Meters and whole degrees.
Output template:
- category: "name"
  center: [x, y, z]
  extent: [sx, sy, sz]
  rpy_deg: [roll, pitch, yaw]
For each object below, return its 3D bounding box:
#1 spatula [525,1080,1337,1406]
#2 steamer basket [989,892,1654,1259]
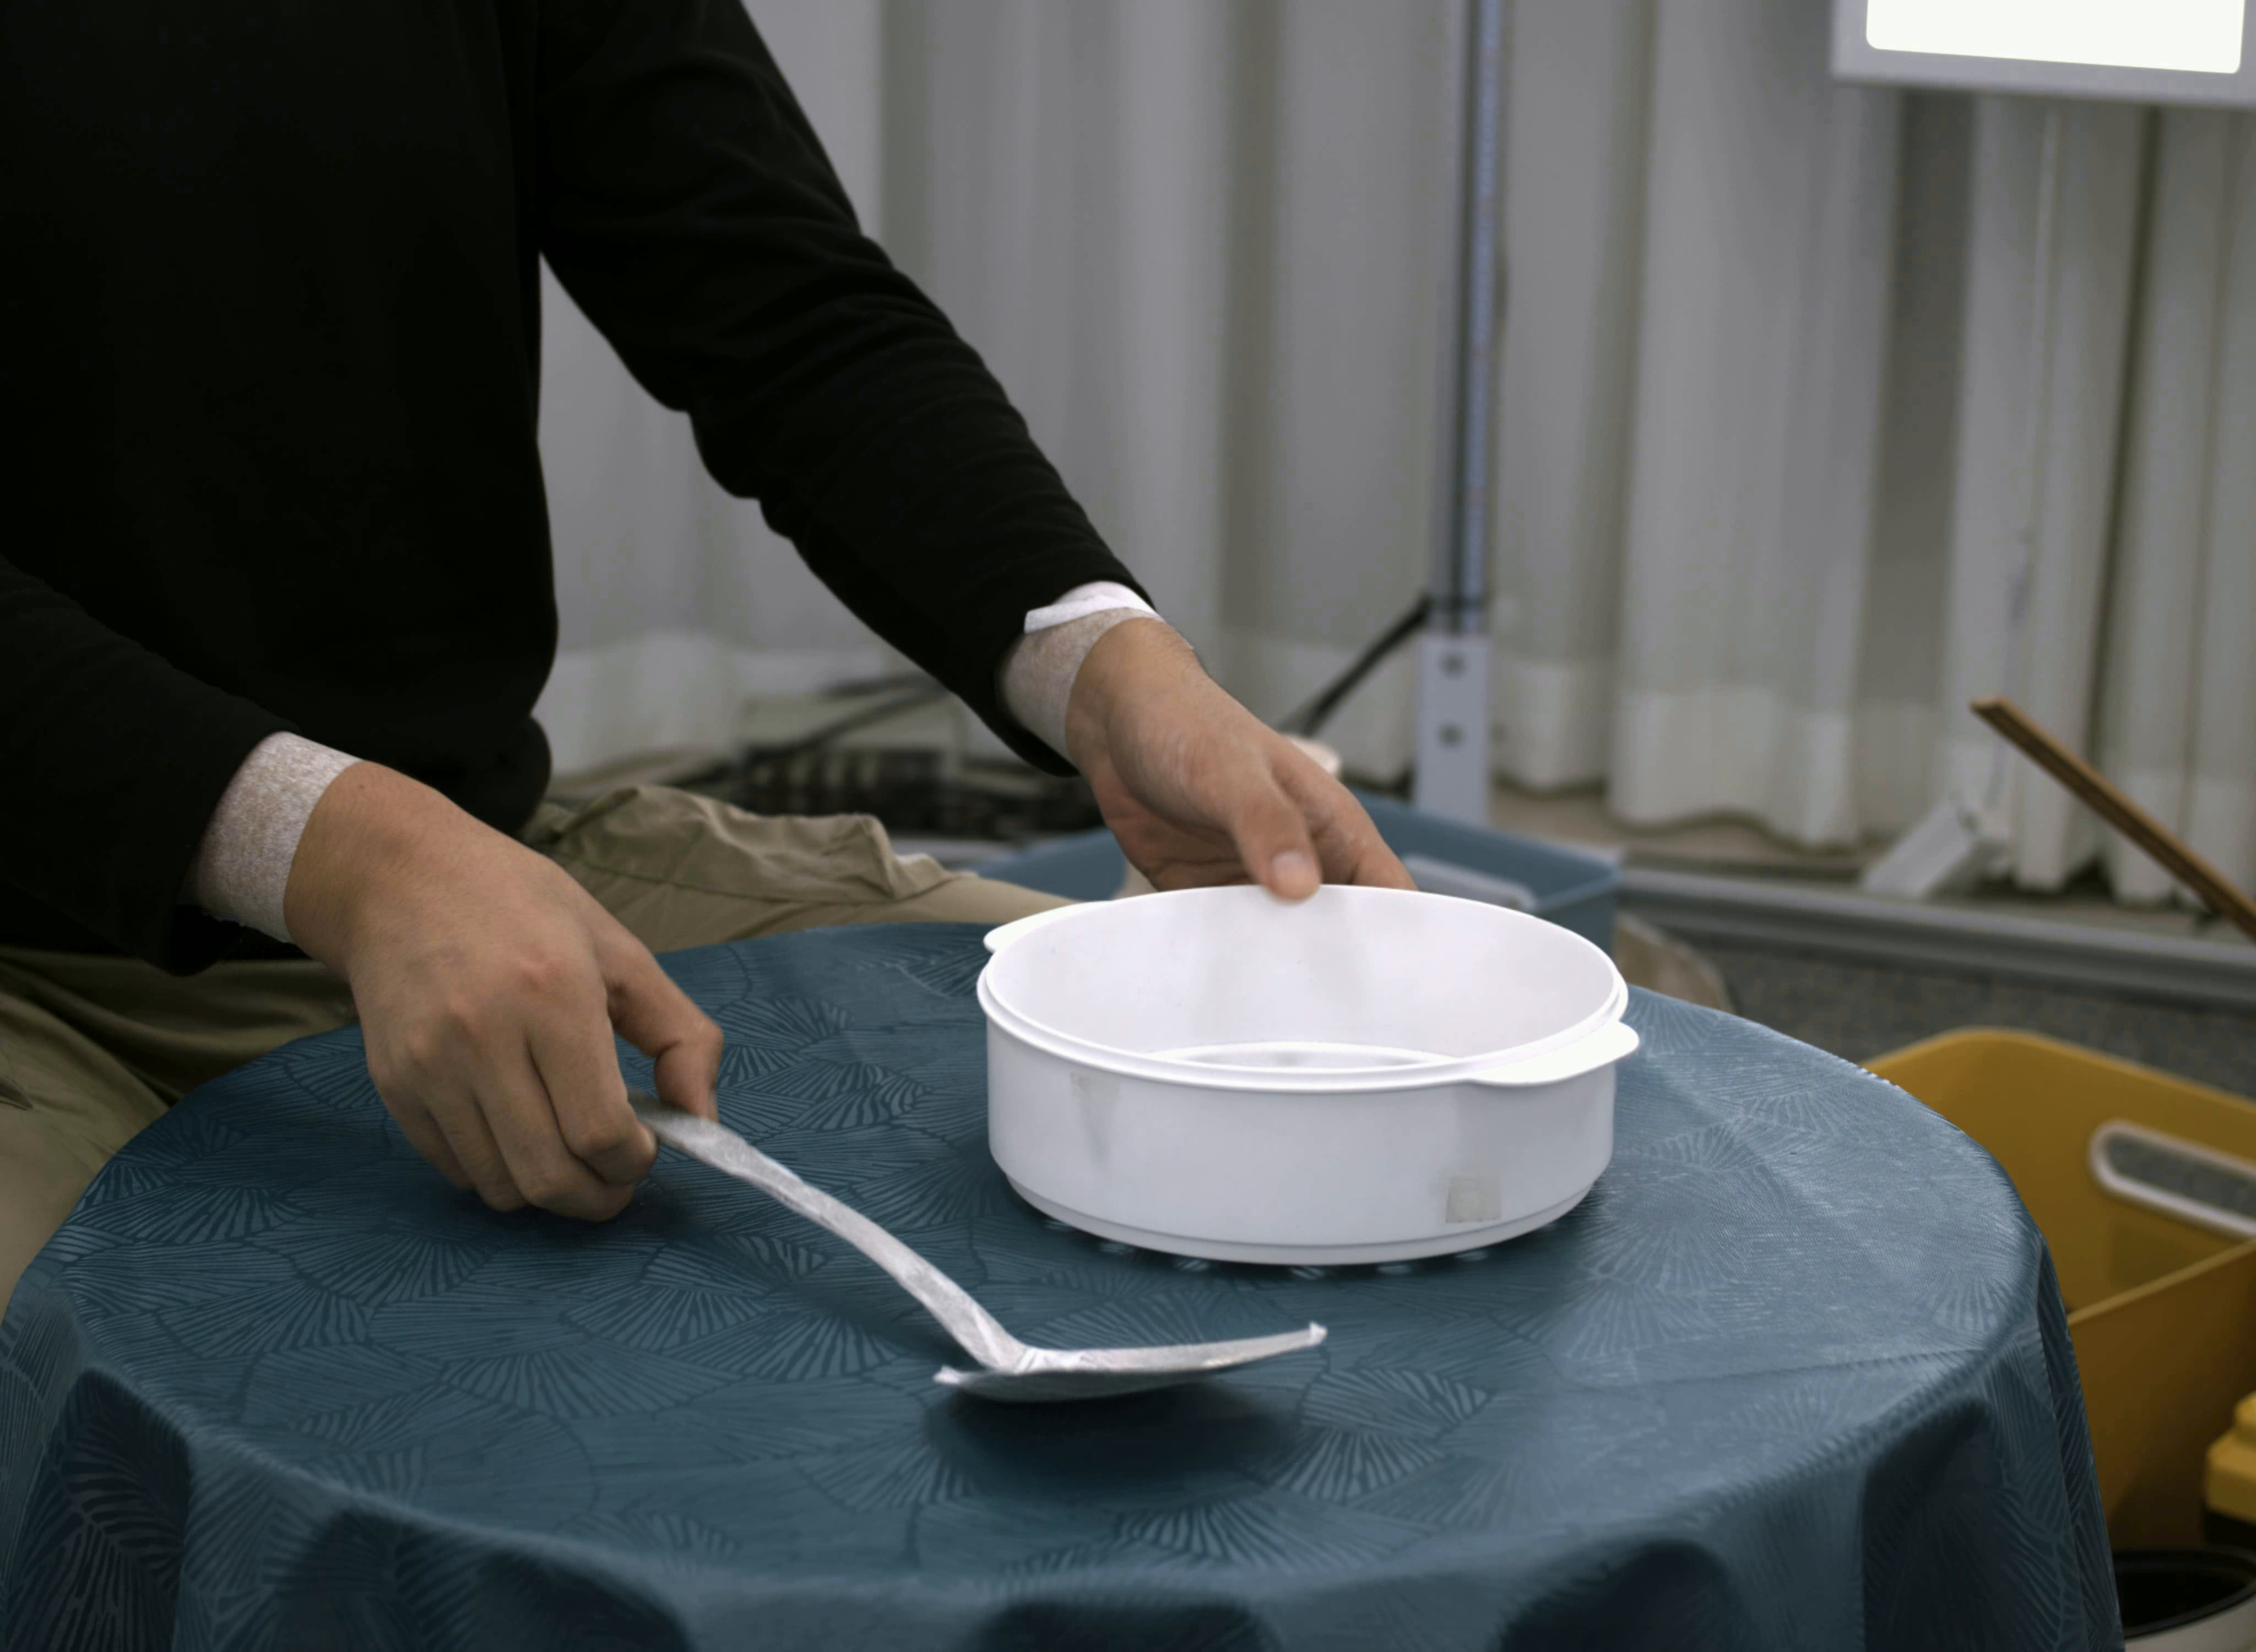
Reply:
- category: "spatula"
  center: [-0.082, 0.112, 1.529]
  extent: [0.099, 0.045, 0.360]
  rpy_deg: [-7, 20, -37]
- category: "steamer basket"
  center: [0.057, 0.076, 1.621]
  extent: [0.227, 0.070, 0.203]
  rpy_deg: [13, 19, 40]
